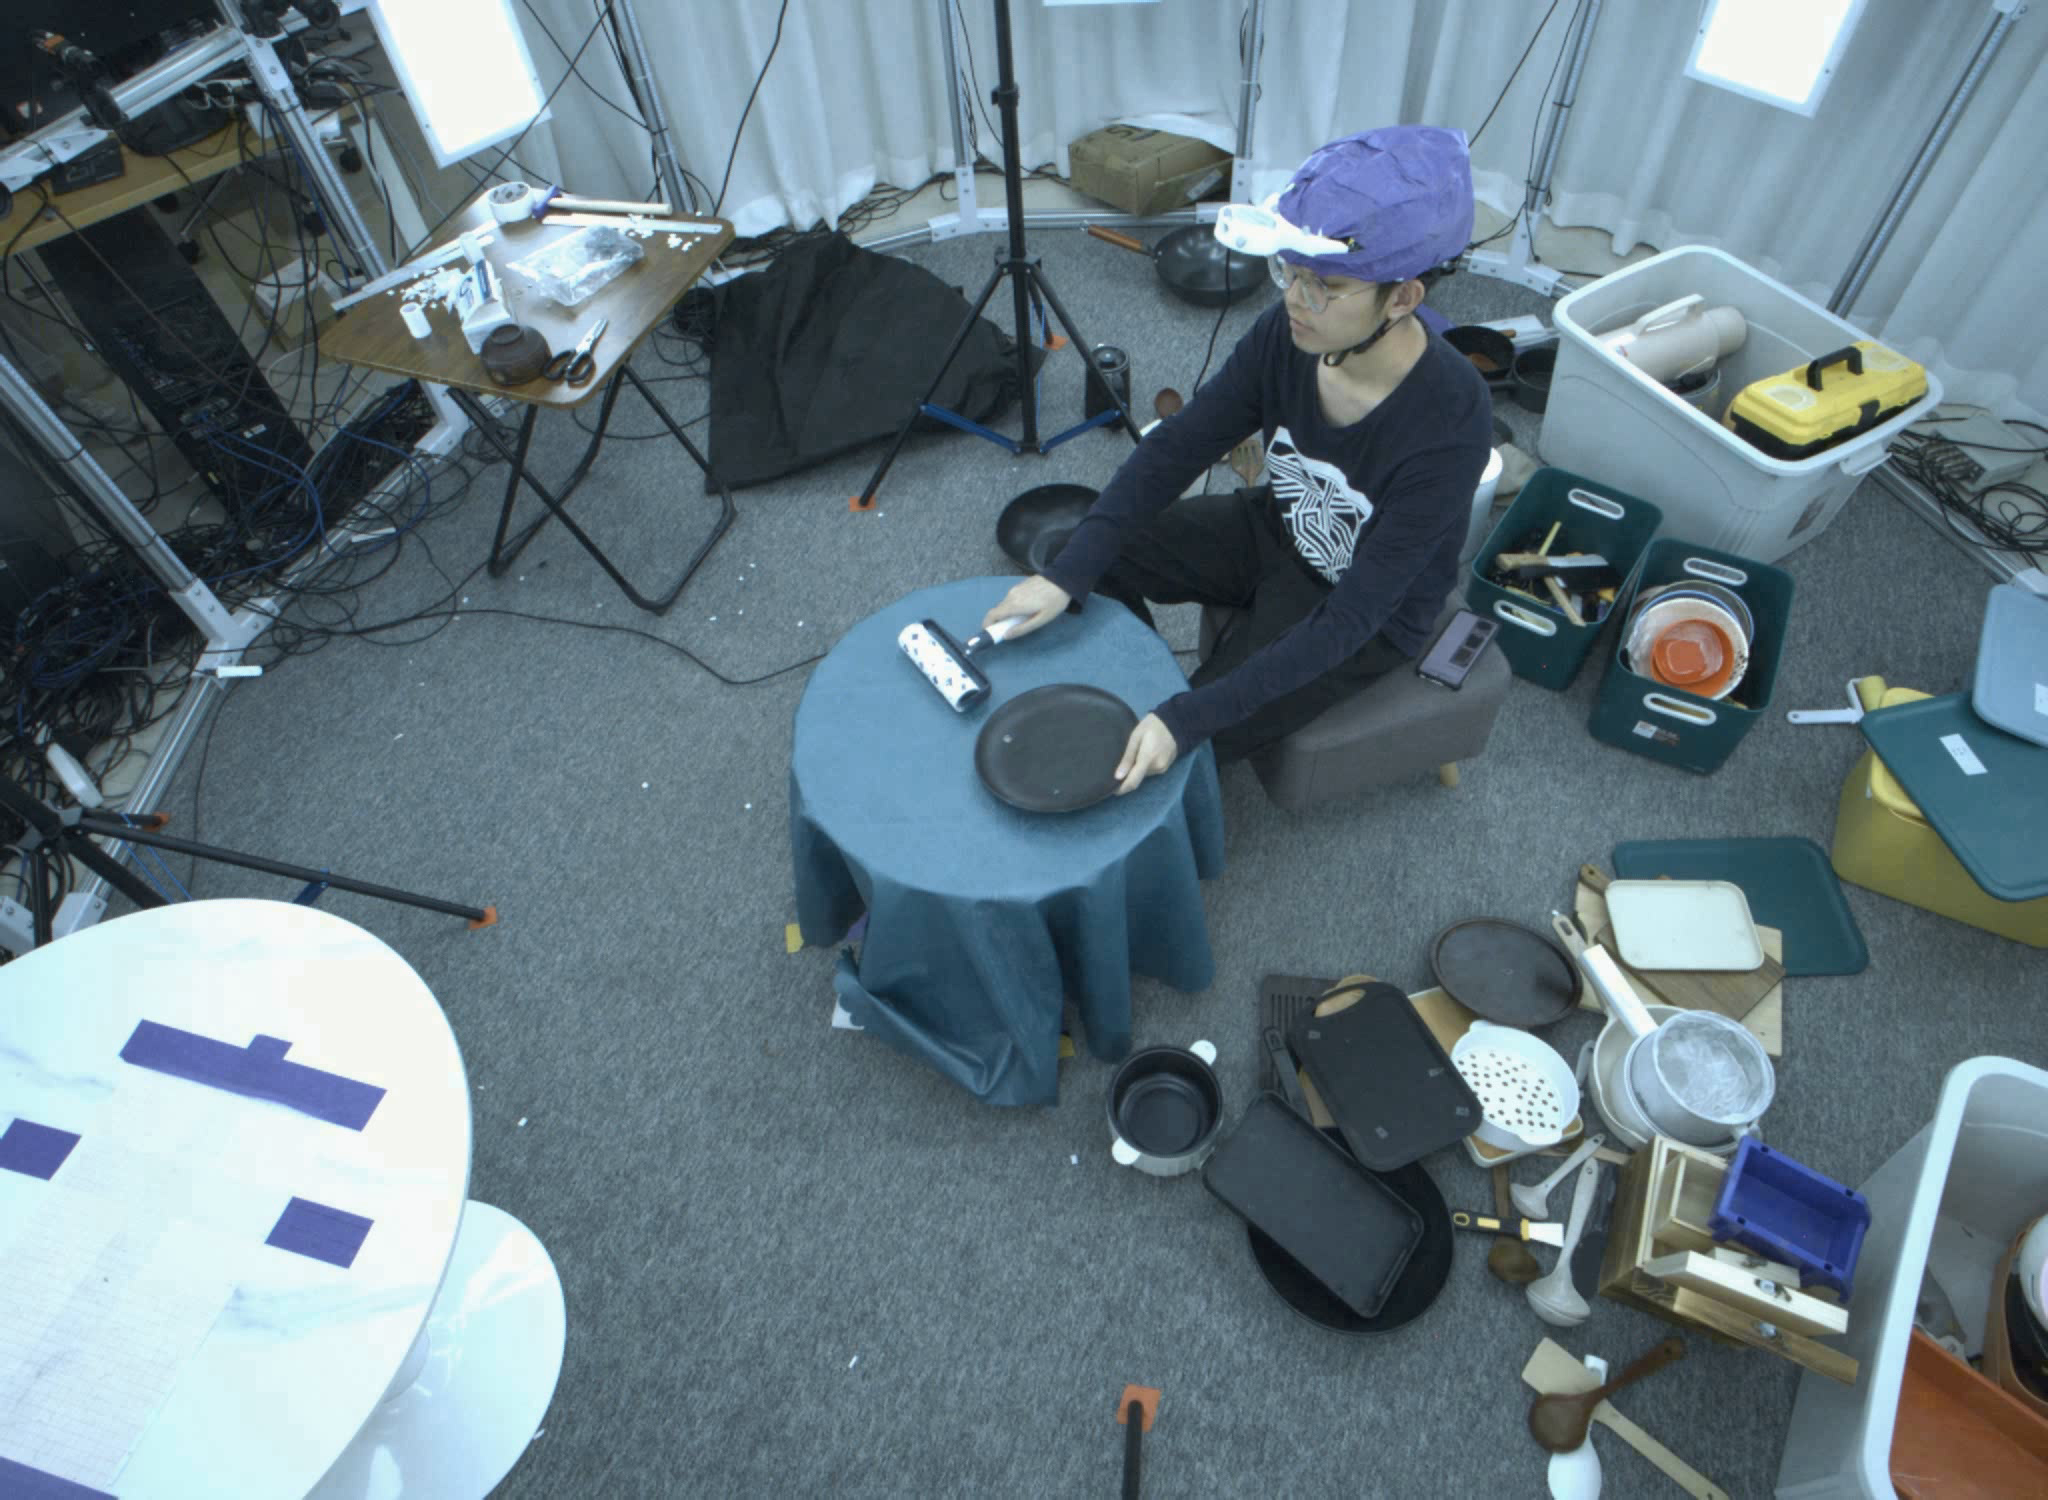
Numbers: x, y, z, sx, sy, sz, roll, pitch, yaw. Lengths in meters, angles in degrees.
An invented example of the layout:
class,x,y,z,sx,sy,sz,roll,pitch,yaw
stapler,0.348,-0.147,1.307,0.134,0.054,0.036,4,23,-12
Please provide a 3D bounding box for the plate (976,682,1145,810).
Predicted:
class,x,y,z,sx,sy,sz,roll,pitch,yaw
plate,0.052,-0.004,1.769,0.243,0.024,0.242,-4,49,6

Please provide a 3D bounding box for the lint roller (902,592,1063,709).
class,x,y,z,sx,sy,sz,roll,pitch,yaw
lint roller,-0.046,-0.183,1.883,0.248,0.051,0.173,-34,60,-15
